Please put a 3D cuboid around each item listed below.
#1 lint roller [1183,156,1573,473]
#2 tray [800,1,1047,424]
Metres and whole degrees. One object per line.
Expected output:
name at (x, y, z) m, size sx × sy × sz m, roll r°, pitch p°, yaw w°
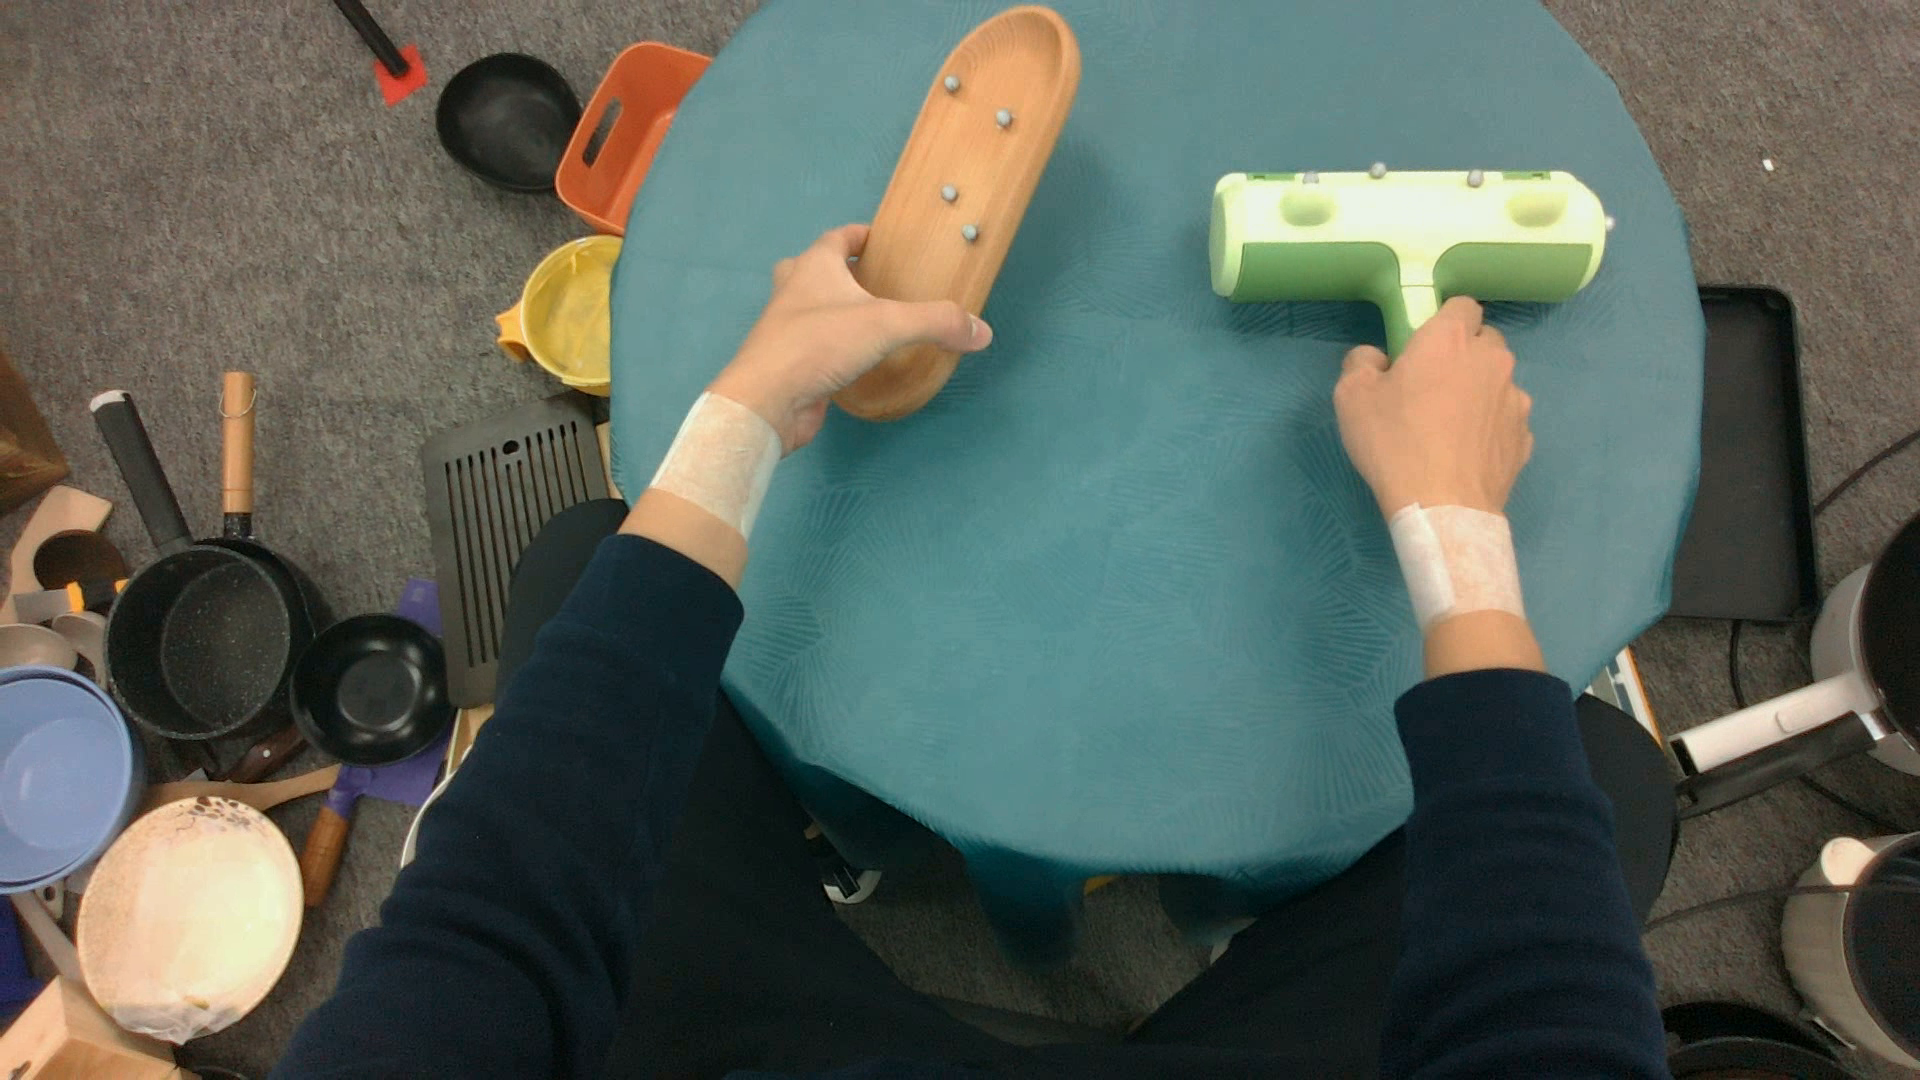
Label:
lint roller at (0.221, -0.126, 0.687) m, size 0.198 × 0.082 × 0.184 m, roll -2°, pitch 55°, yaw -4°
tray at (-0.020, -0.169, 0.714) m, size 0.101 × 0.020 × 0.231 m, roll 21°, pitch 91°, yaw 47°
